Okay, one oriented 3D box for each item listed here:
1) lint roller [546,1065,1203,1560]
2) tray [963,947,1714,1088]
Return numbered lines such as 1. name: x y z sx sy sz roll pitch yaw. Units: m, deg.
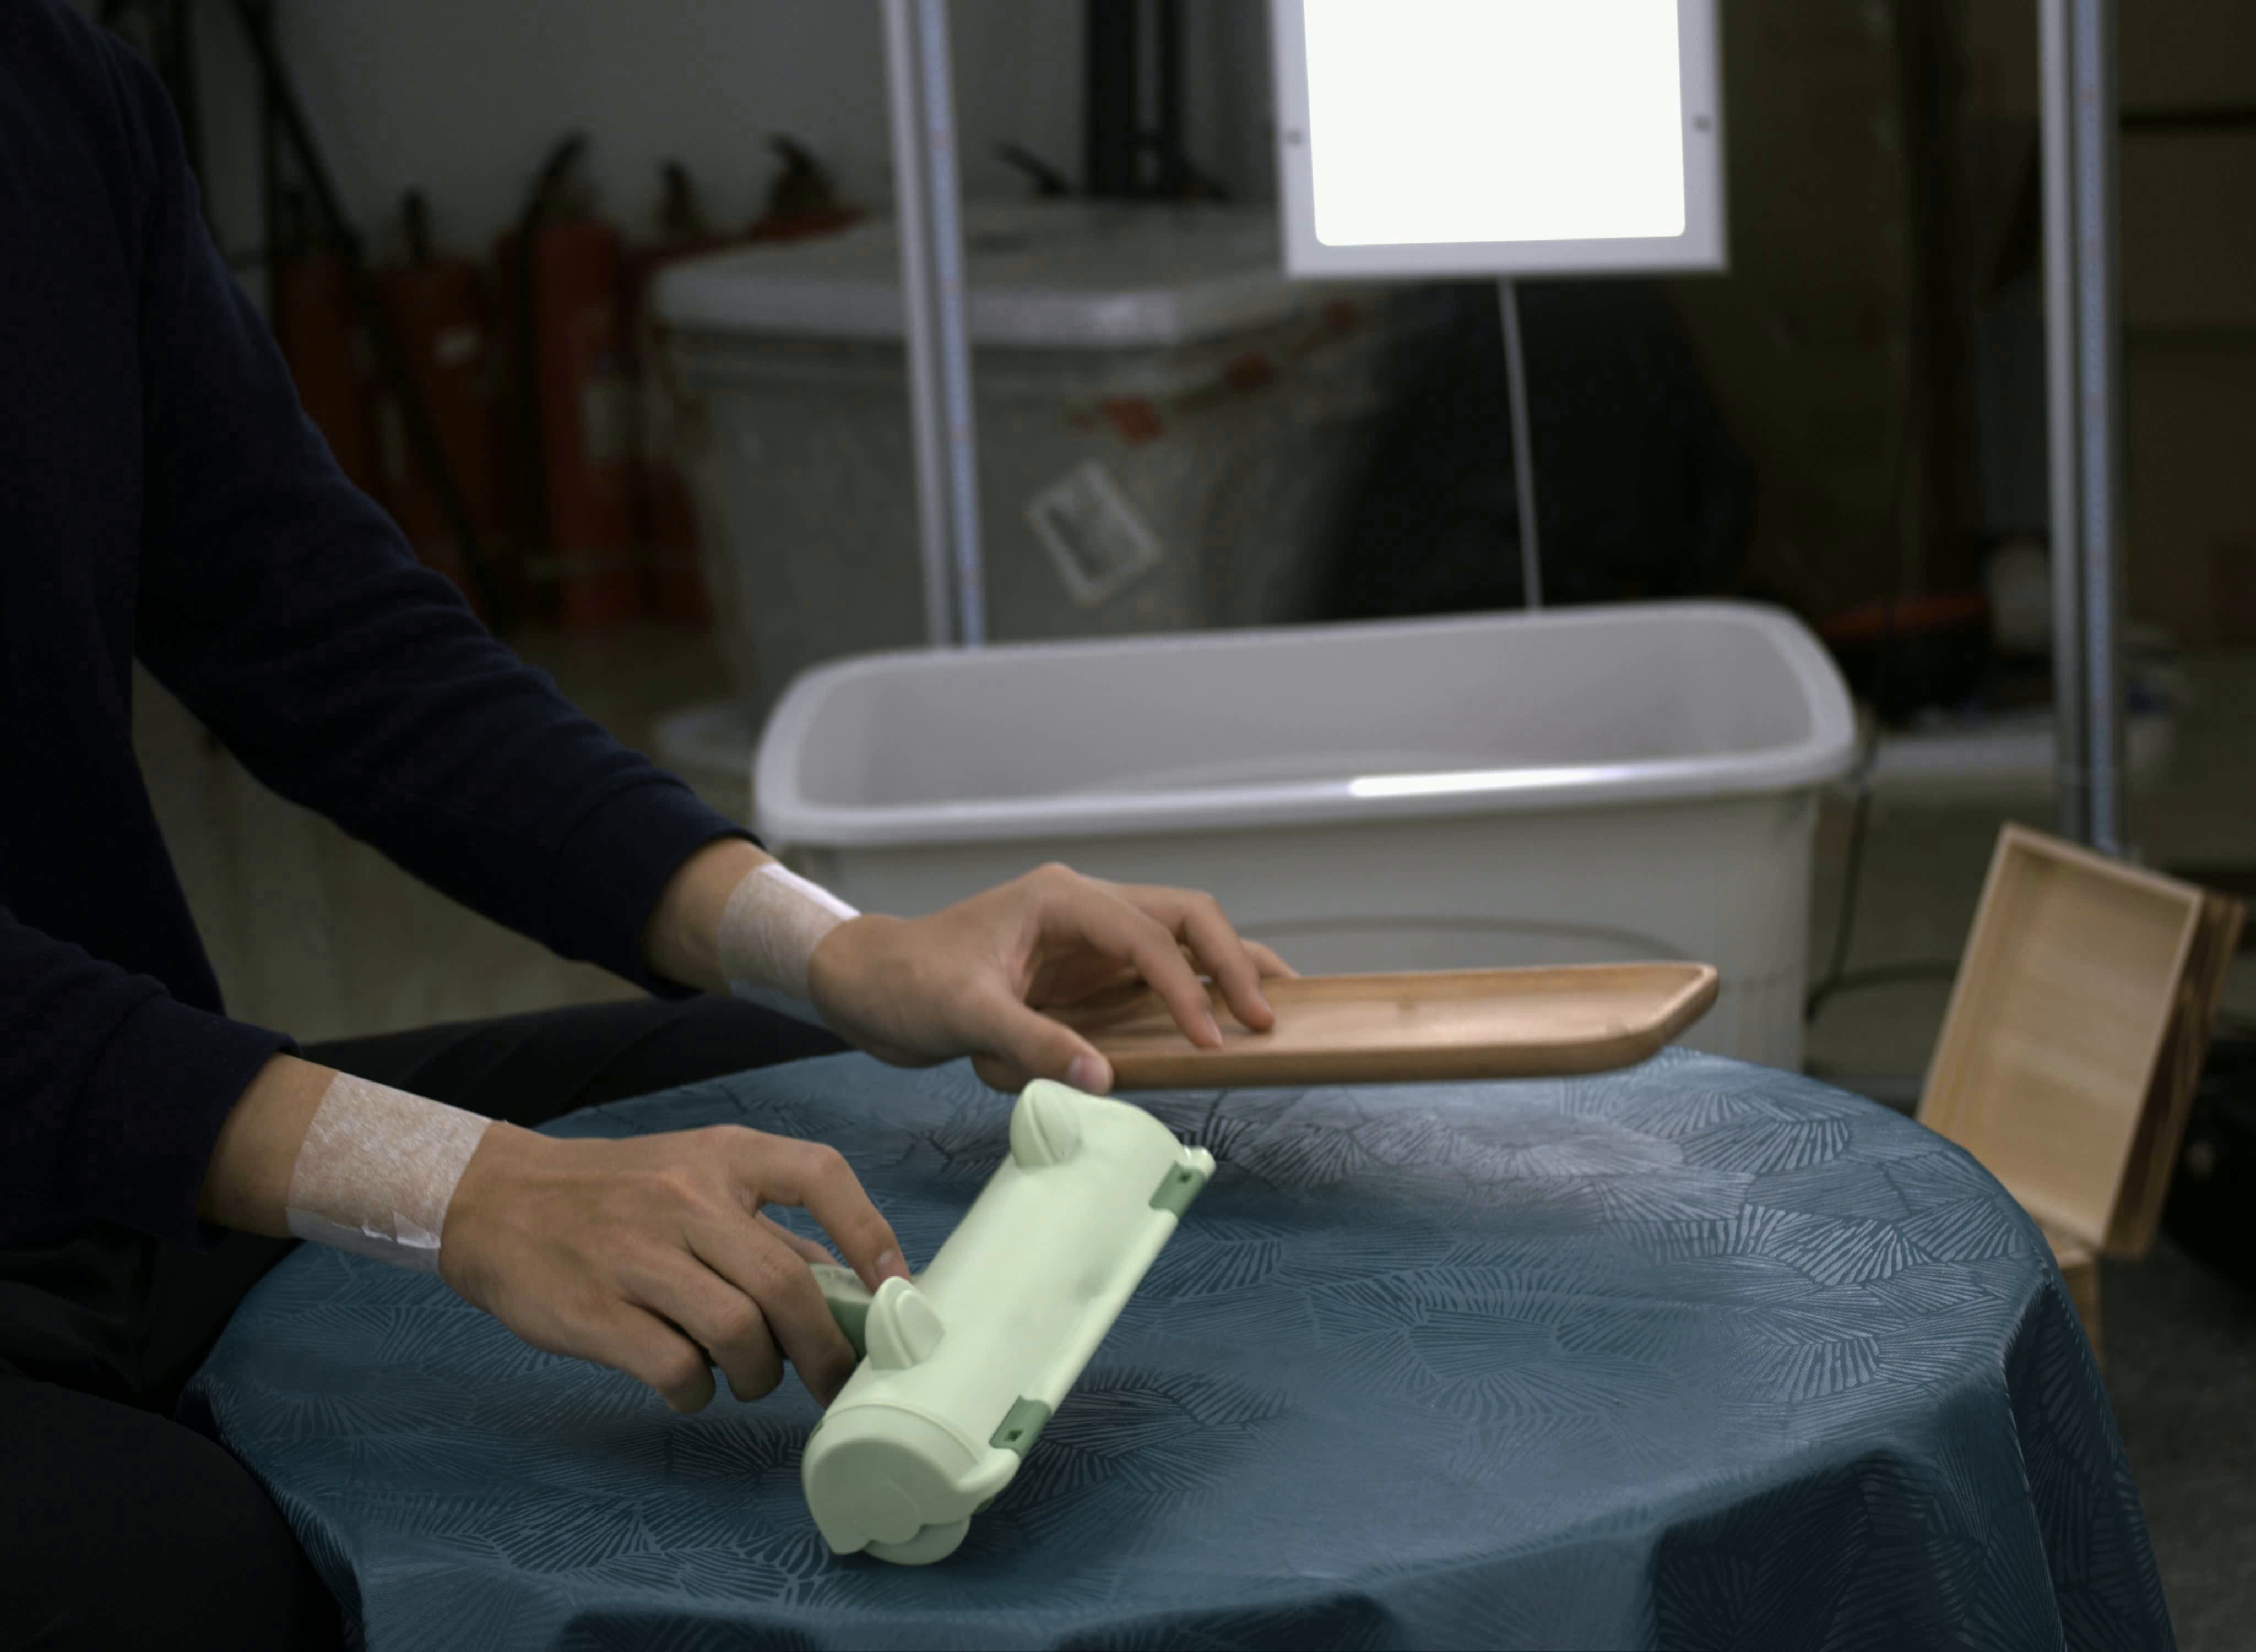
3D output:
1. lint roller: -0.091 0.128 1.655 0.185 0.083 0.195 10 31 17
2. tray: 0.073 0.066 1.901 0.255 0.023 0.128 -5 6 25
